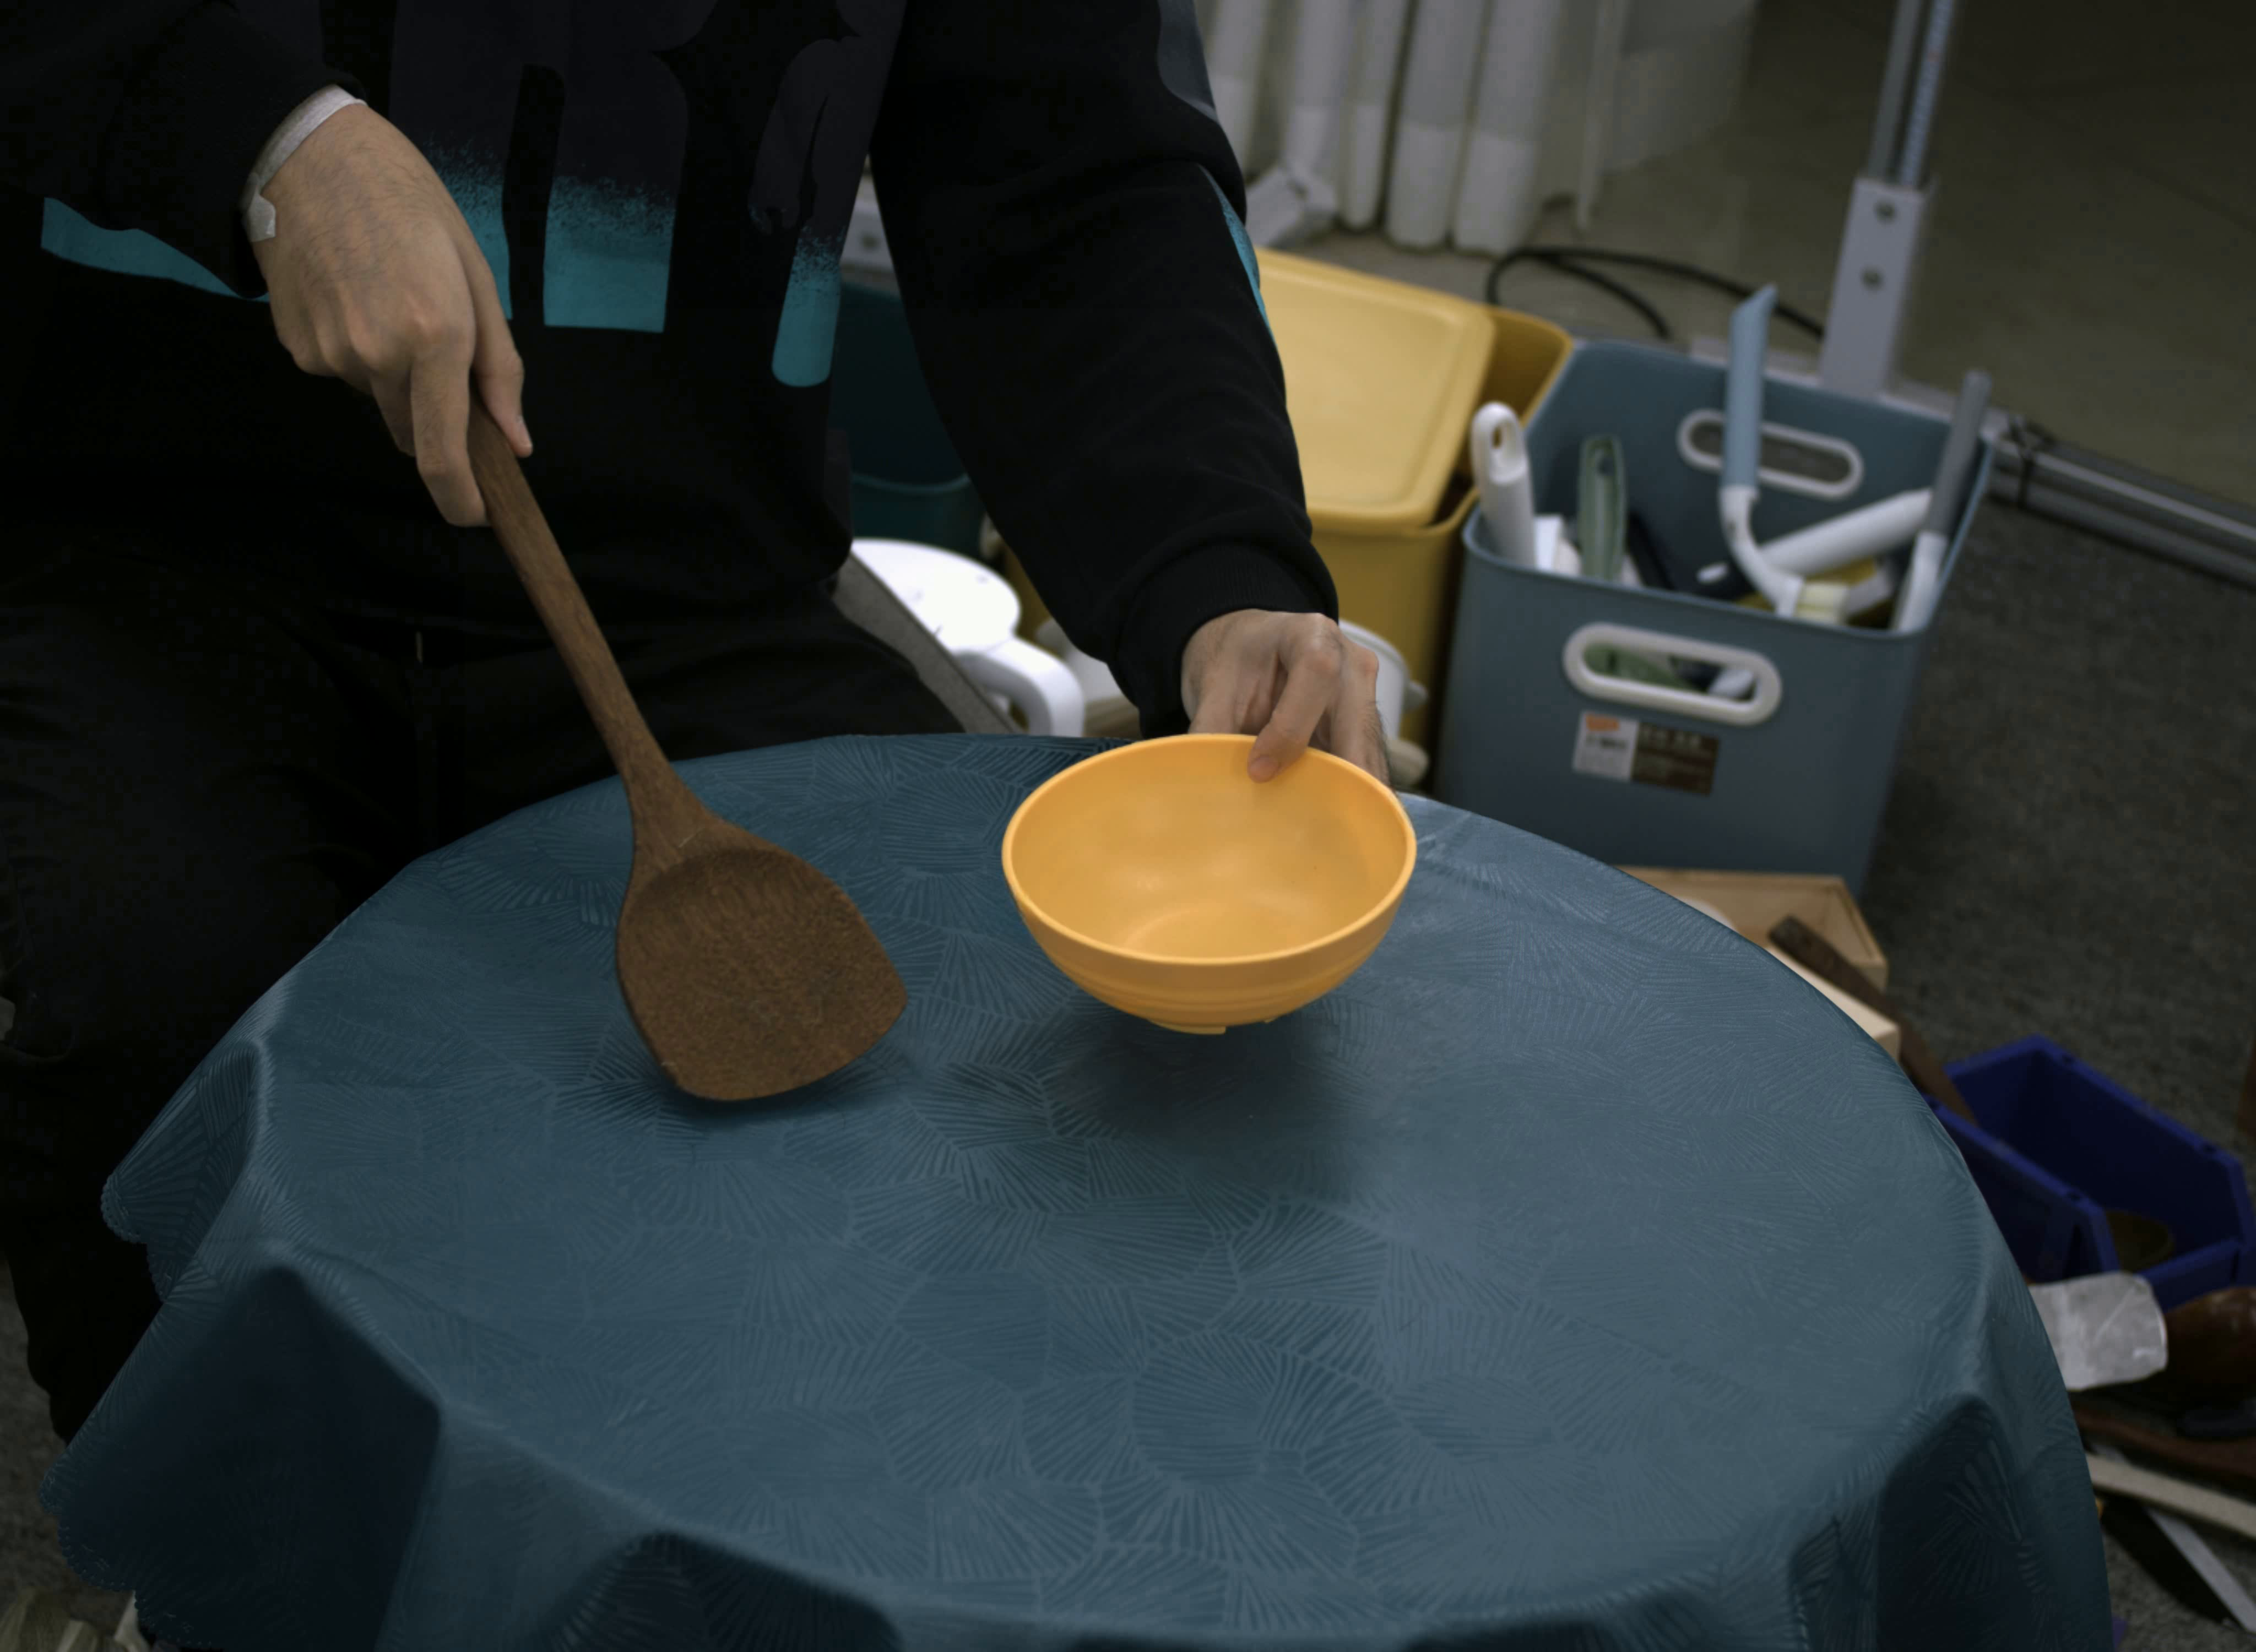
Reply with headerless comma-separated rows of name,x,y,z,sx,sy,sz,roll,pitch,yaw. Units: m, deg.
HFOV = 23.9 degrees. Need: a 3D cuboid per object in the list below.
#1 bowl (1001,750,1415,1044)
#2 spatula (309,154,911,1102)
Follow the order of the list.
bowl,0.028,0.034,1.867,0.145,0.060,0.146,0,31,0
spatula,-0.197,-0.077,1.869,0.096,0.016,0.388,-22,75,-25
